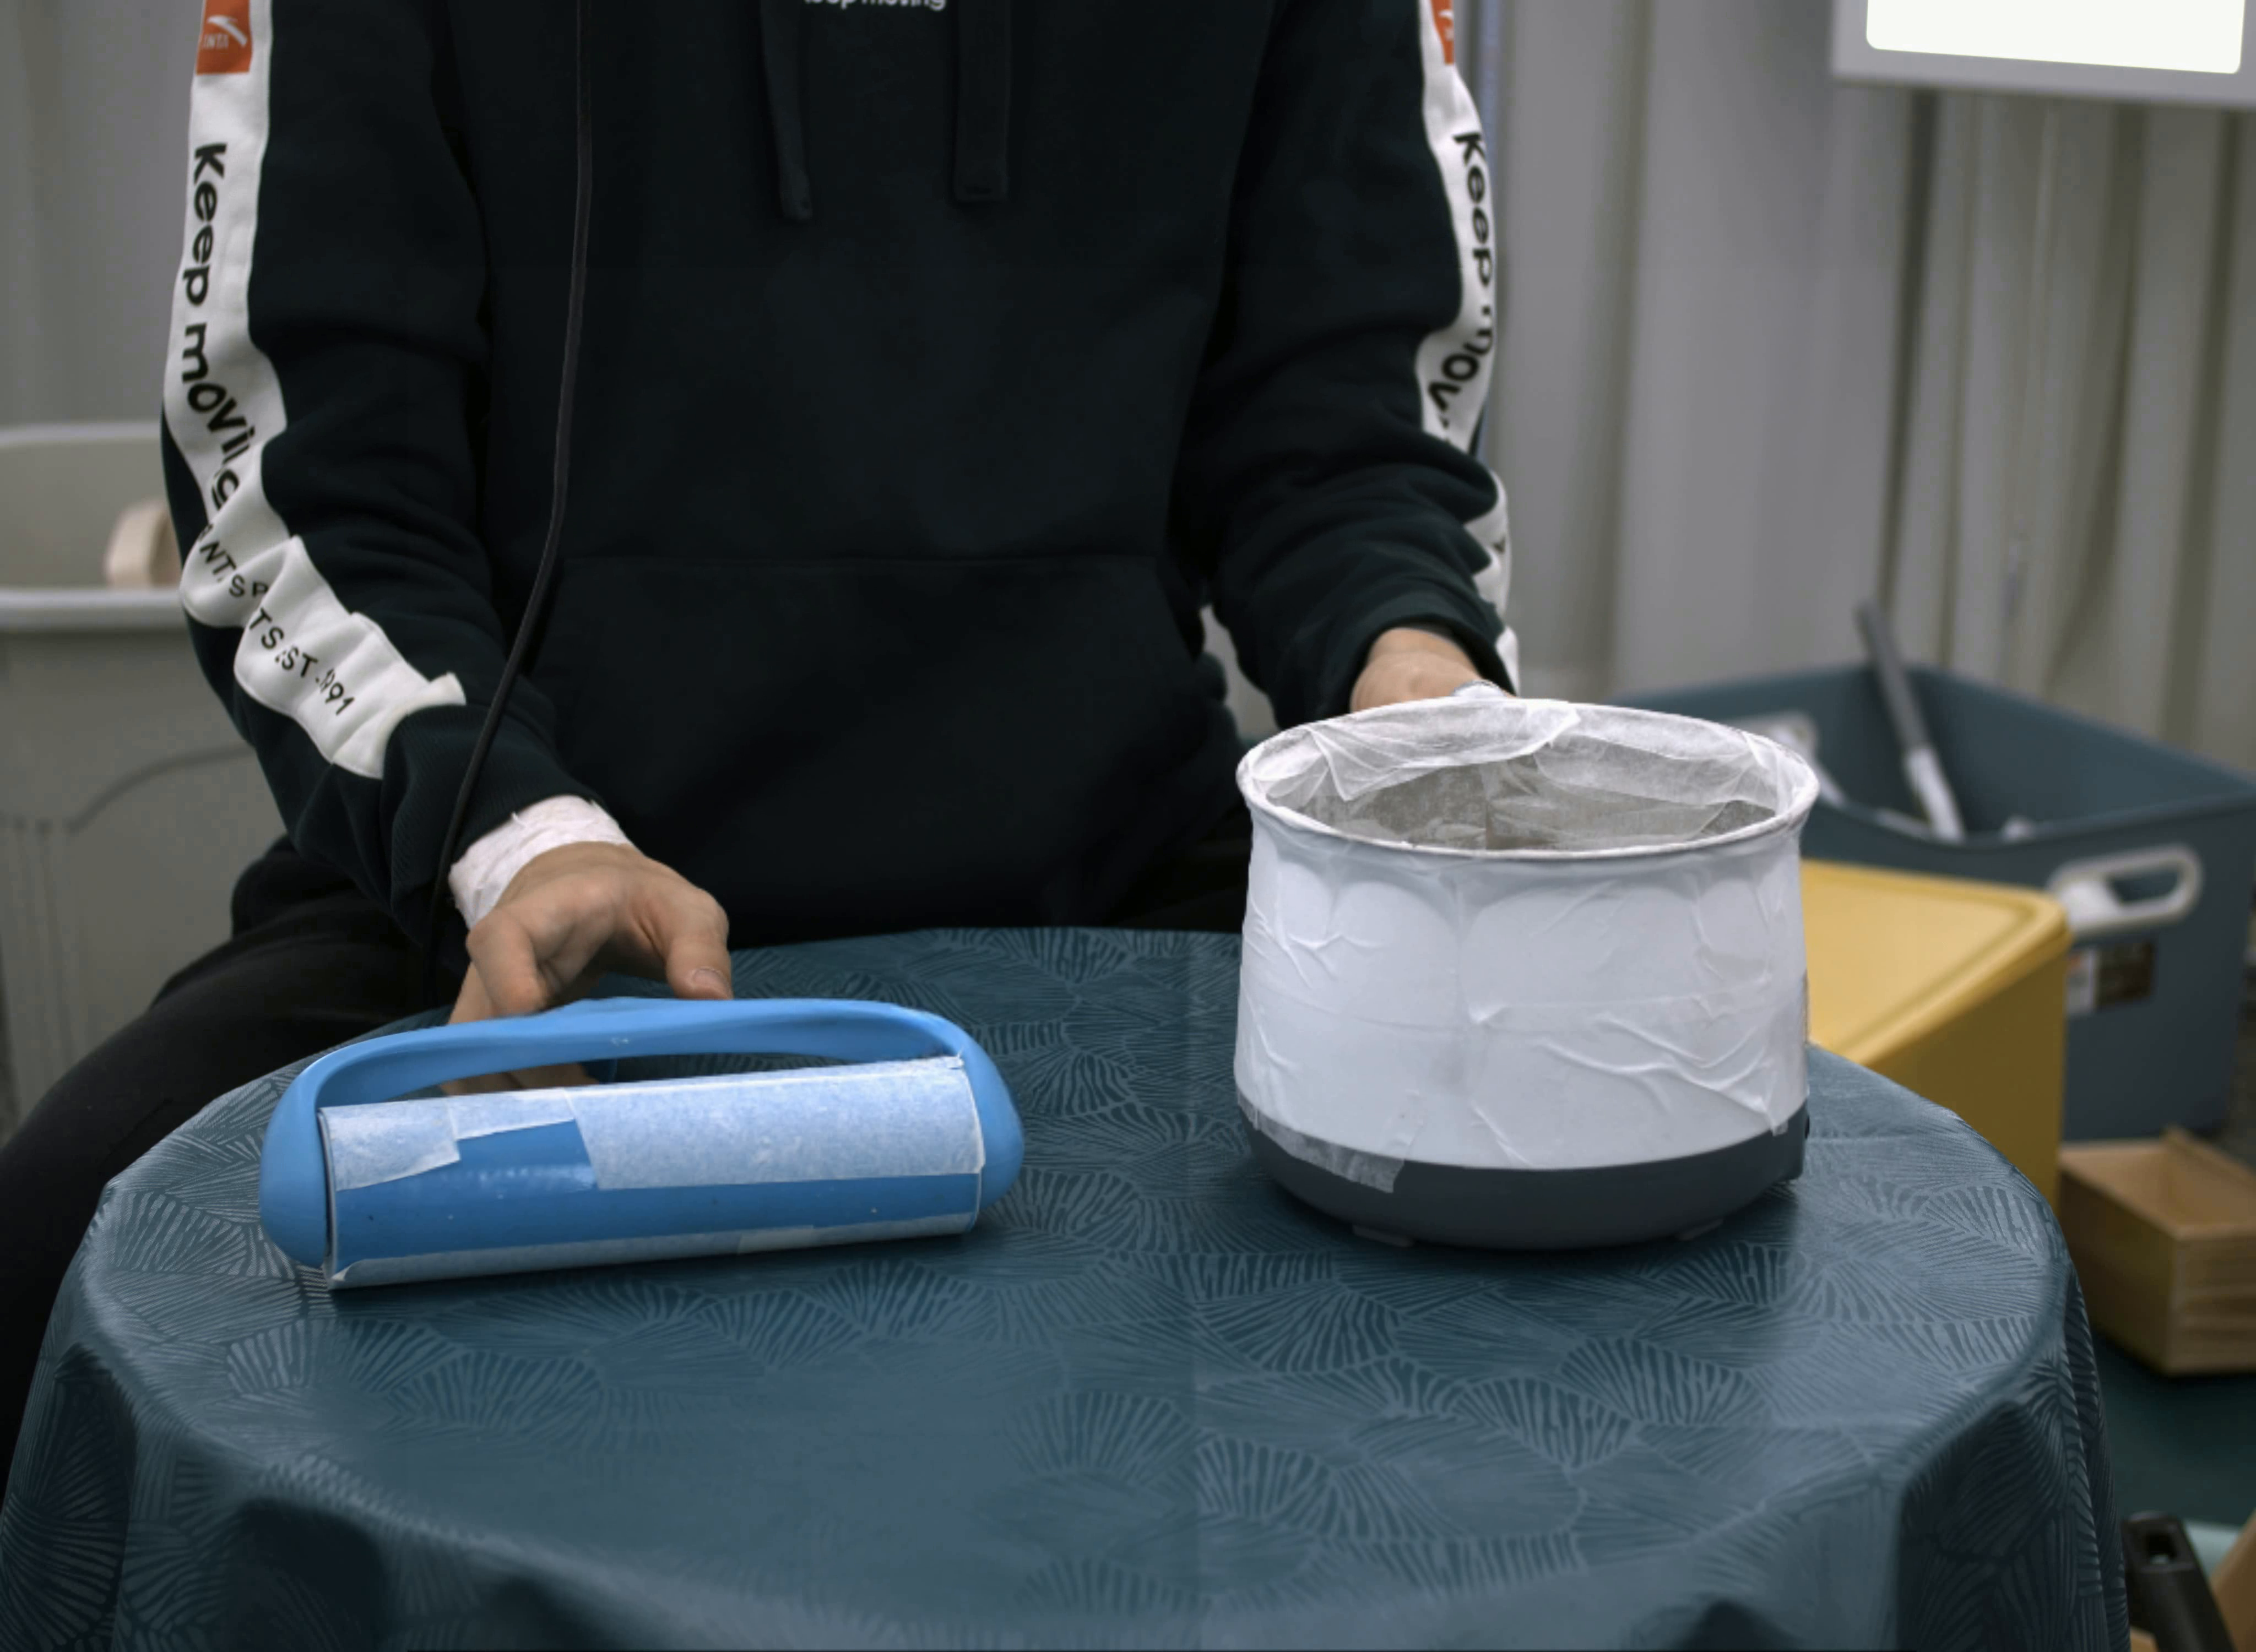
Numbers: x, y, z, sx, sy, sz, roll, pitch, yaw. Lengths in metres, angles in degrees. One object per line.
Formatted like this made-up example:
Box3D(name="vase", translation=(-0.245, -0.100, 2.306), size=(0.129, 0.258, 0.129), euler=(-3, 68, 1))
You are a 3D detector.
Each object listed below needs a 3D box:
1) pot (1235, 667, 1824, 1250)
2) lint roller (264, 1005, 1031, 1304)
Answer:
Box3D(name="pot", translation=(0.118, 0.036, 1.634), size=(0.178, 0.138, 0.232), euler=(-1, 17, -6))
Box3D(name="lint roller", translation=(-0.159, 0.087, 1.602), size=(0.229, 0.068, 0.178), euler=(-7, 18, -18))
